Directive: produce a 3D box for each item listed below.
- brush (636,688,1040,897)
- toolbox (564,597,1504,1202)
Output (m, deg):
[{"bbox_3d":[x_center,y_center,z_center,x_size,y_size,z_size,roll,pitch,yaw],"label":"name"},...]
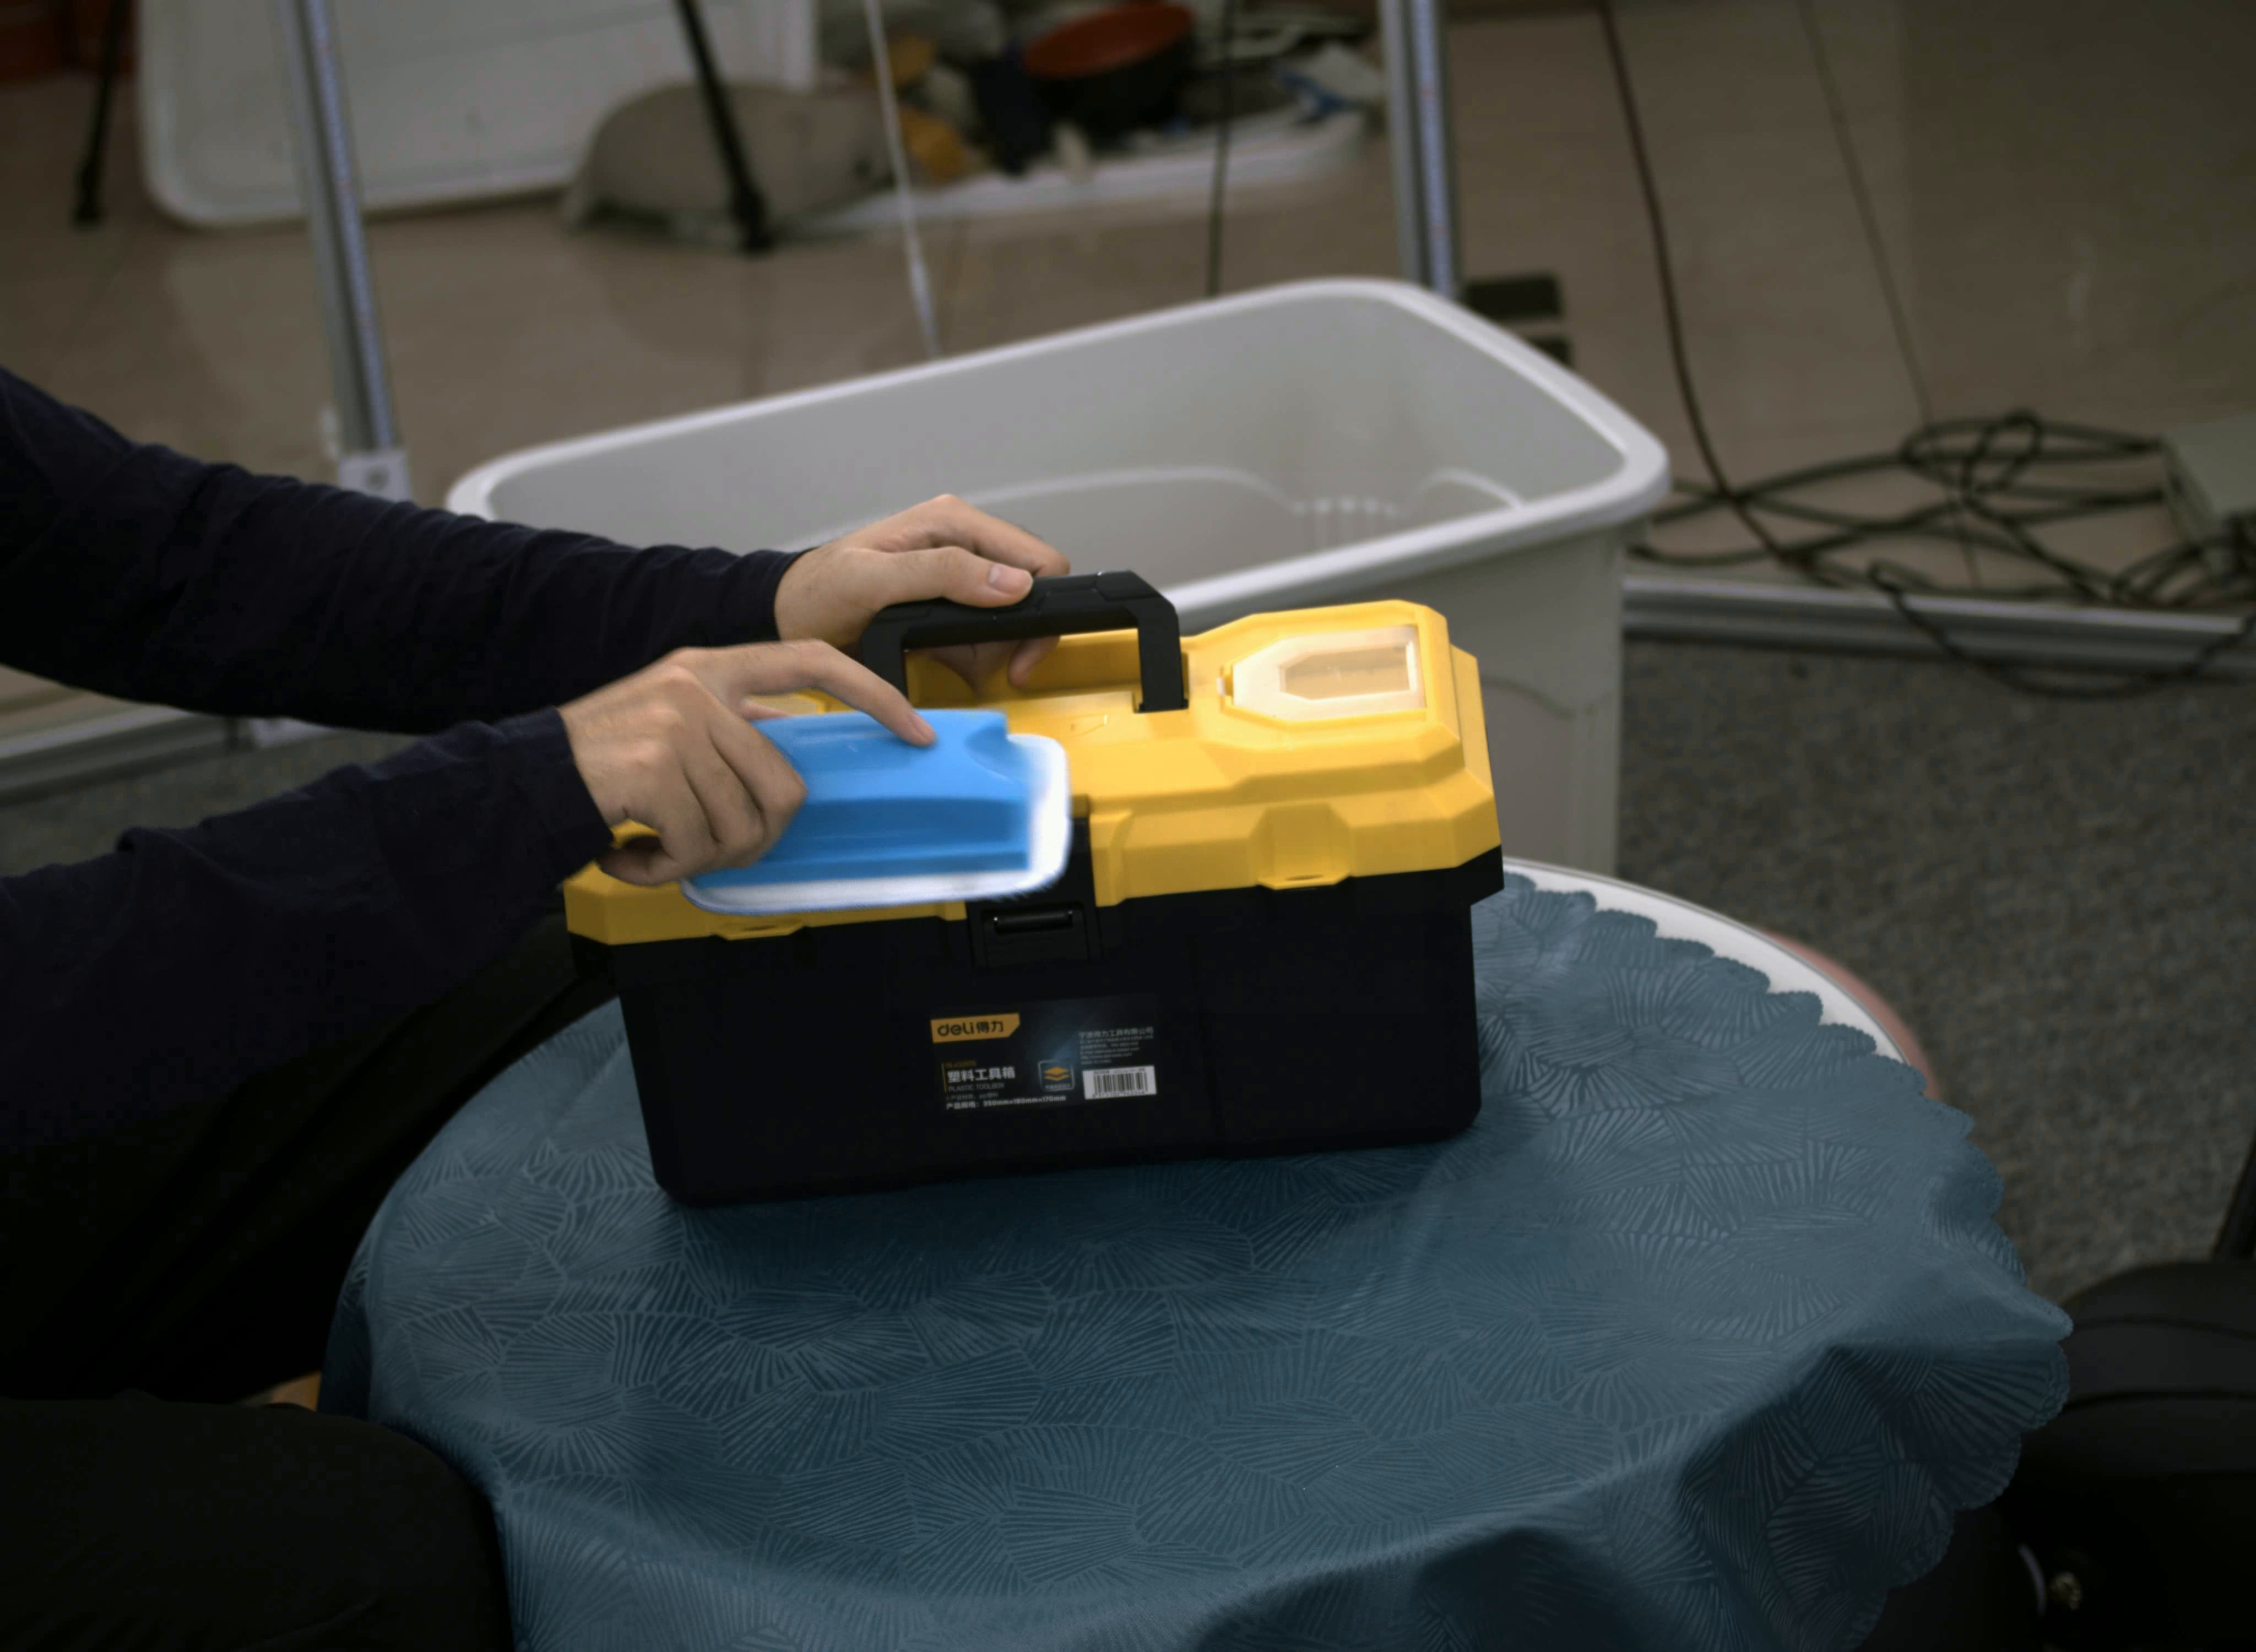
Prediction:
[{"bbox_3d":[-0.103,-0.016,2.019,0.144,0.057,0.082,-1,44,2],"label":"brush"},{"bbox_3d":[-0.031,0.030,2.180,0.351,0.175,0.178,-5,25,3],"label":"toolbox"}]
